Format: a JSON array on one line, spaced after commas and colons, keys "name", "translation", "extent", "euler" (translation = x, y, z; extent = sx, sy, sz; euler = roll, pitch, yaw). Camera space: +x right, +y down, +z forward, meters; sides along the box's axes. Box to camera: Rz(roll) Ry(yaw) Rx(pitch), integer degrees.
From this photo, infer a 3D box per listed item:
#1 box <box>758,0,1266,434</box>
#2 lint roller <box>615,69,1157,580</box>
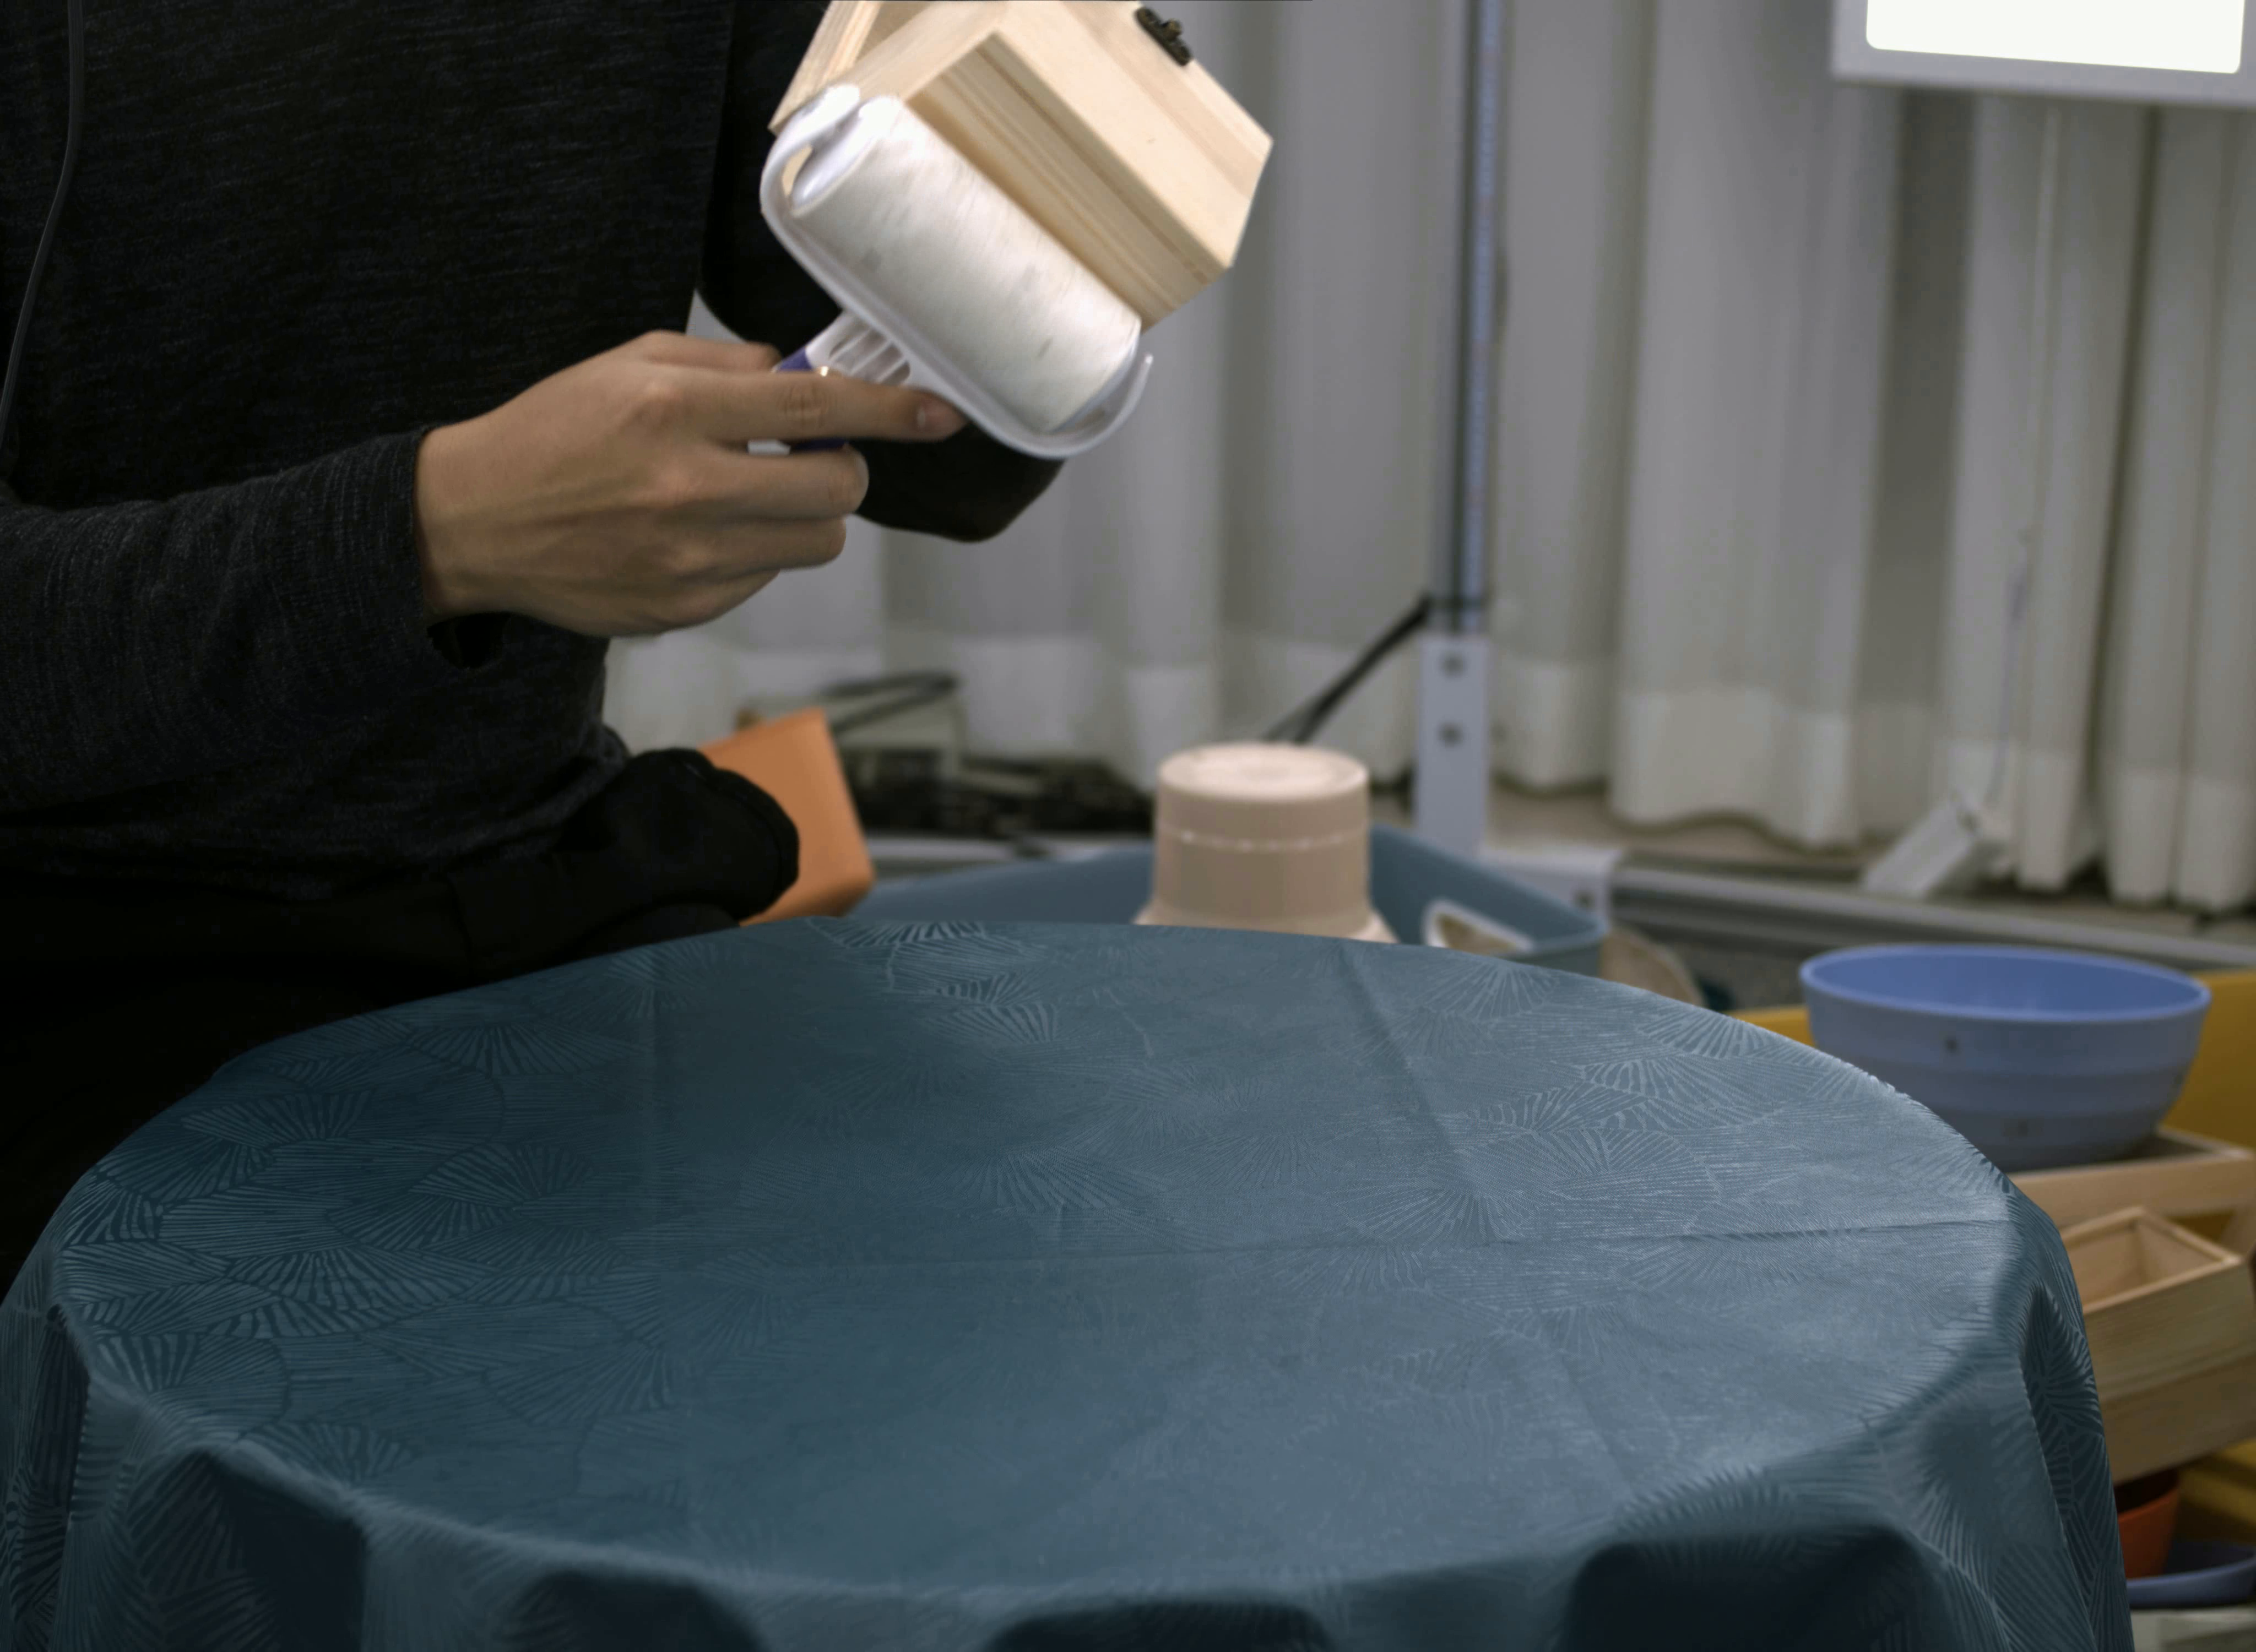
[{"name": "box", "translation": [-0.030, -0.223, 1.625], "extent": [0.133, 0.103, 0.183], "euler": [-33, 23, 31]}, {"name": "lint roller", "translation": [-0.093, -0.128, 1.551], "extent": [0.134, 0.180, 0.050], "euler": [42, 22, -19]}]
